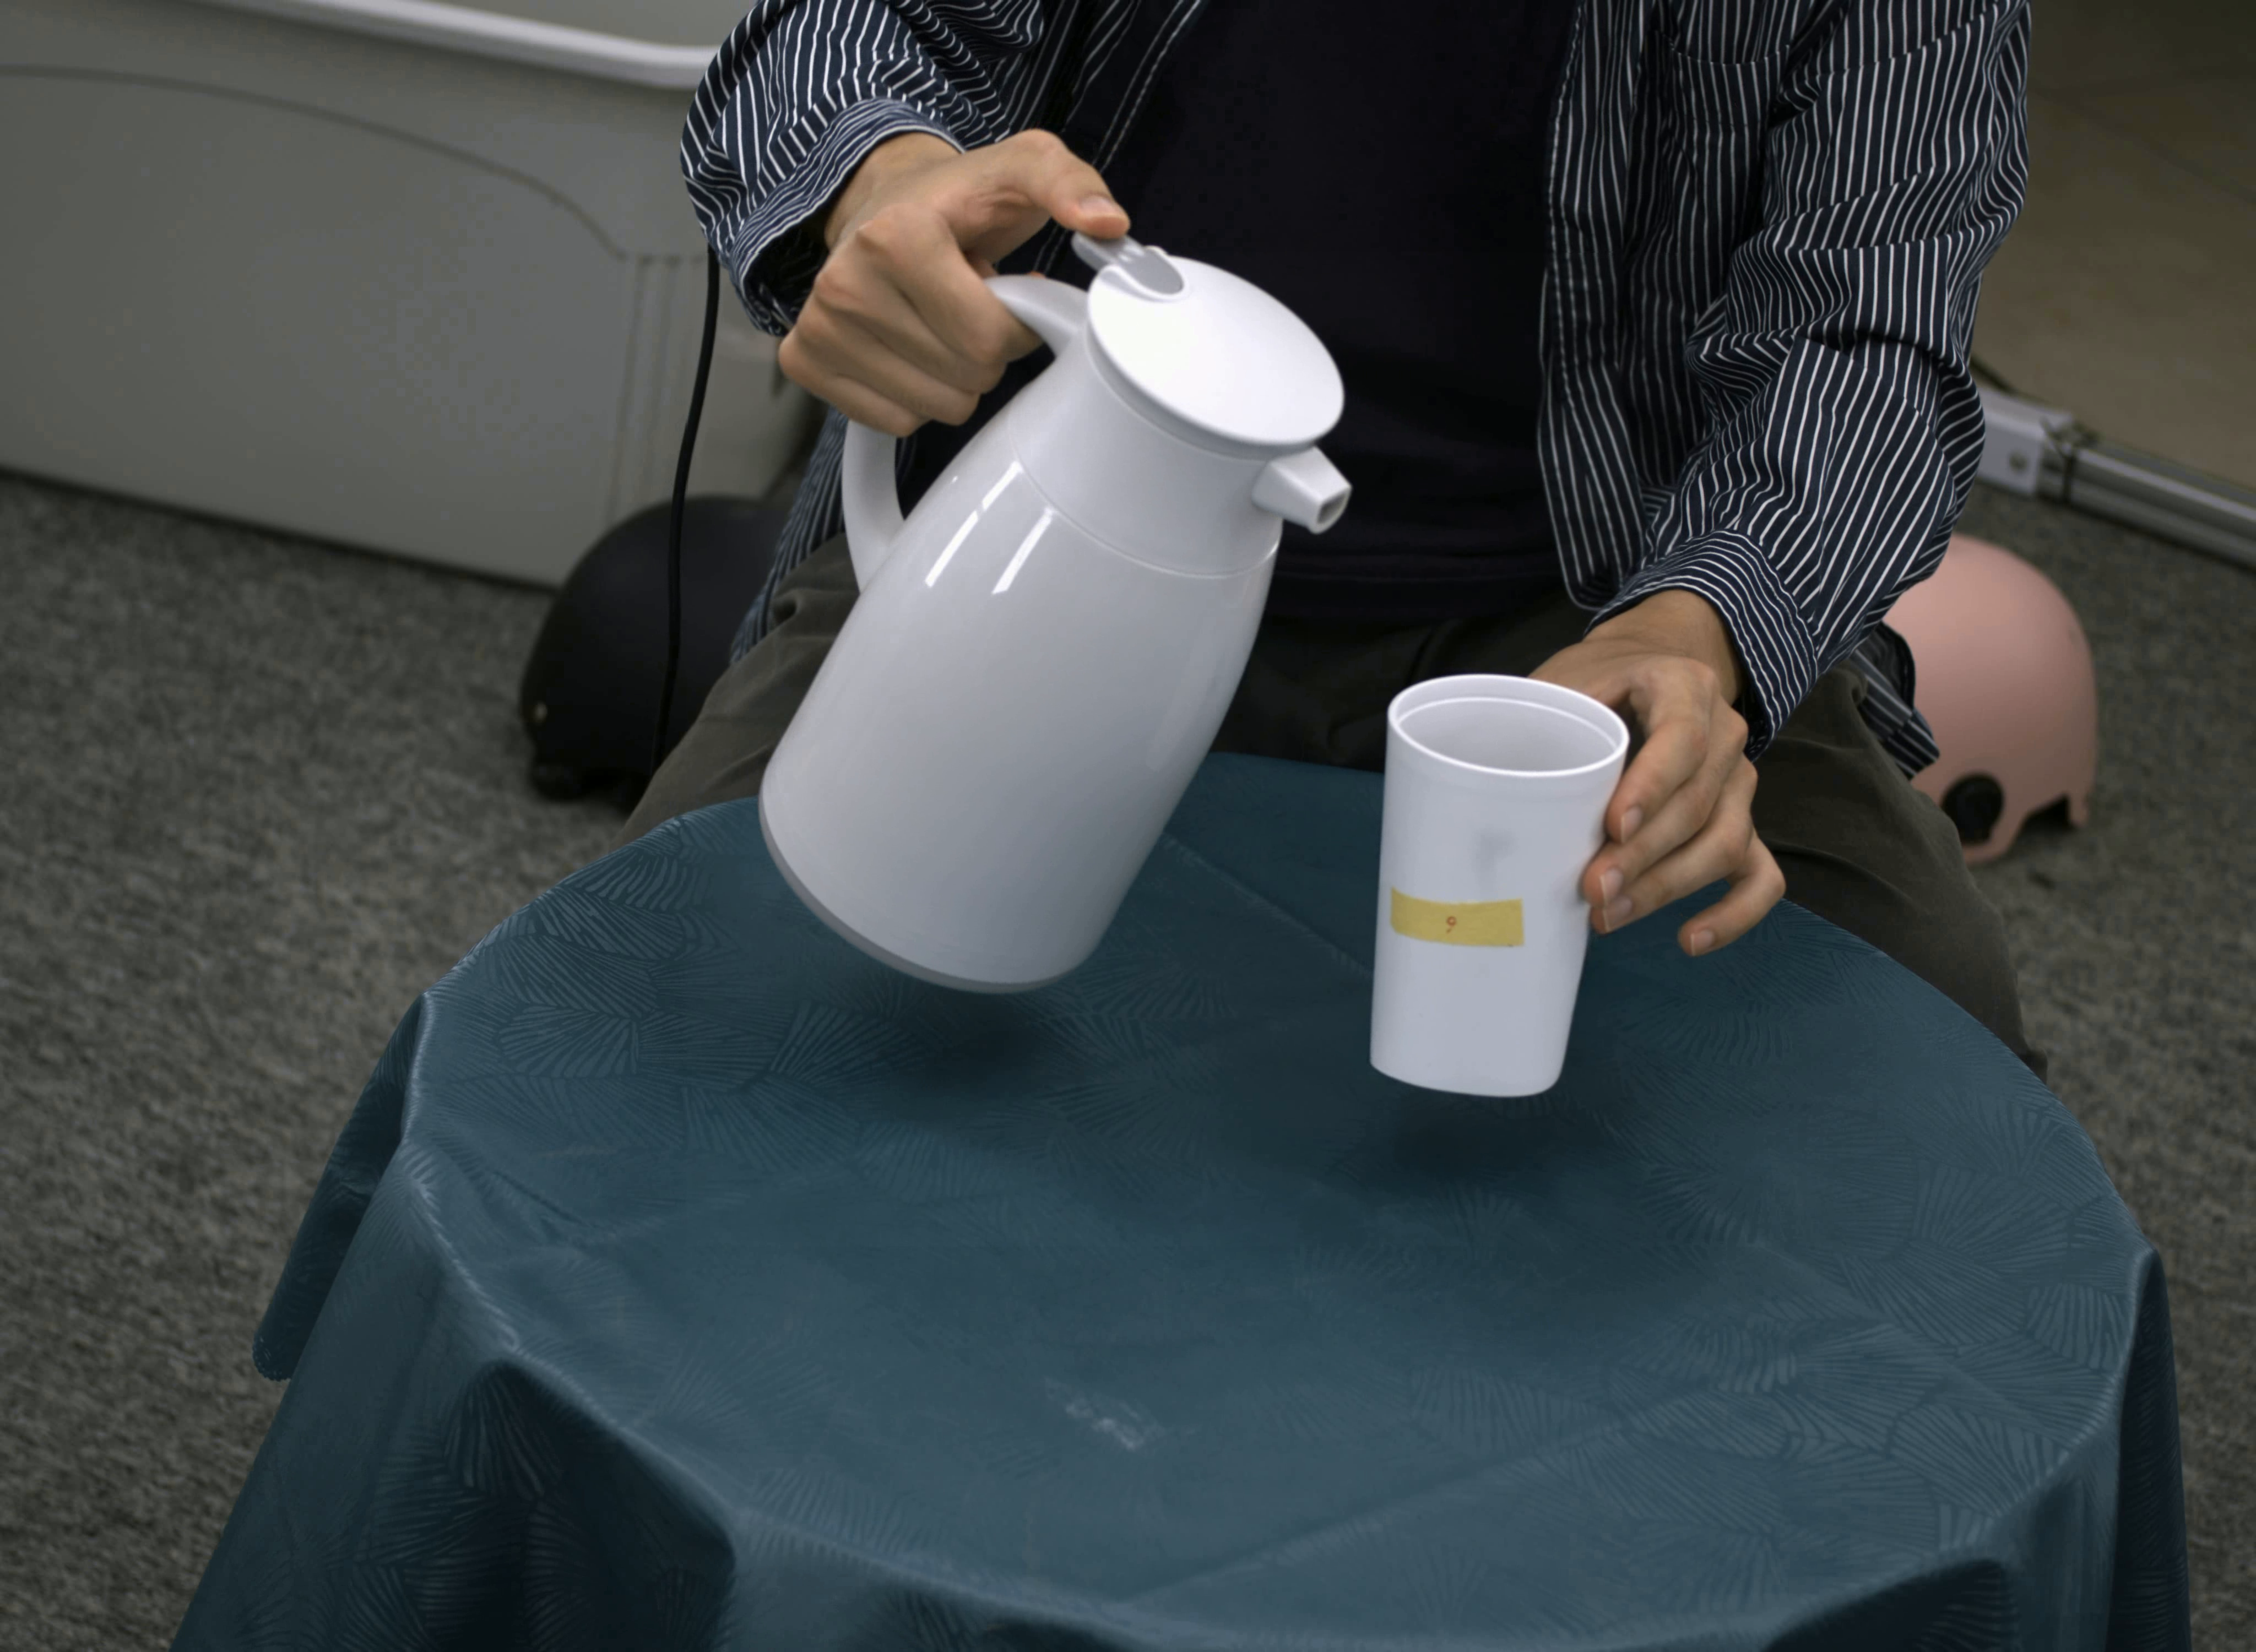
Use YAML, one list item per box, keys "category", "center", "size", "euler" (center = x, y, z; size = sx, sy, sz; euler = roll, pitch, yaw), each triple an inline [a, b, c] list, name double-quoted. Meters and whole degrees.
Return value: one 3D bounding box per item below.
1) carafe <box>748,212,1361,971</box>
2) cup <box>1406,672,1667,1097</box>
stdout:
- category: "carafe"
  center: [-0.034, -0.092, 1.793]
  size: [0.168, 0.248, 0.132]
  euler: [40, 38, 9]
- category: "cup"
  center: [0.134, 0.022, 1.794]
  size: [0.081, 0.125, 0.082]
  euler: [4, 24, -2]
